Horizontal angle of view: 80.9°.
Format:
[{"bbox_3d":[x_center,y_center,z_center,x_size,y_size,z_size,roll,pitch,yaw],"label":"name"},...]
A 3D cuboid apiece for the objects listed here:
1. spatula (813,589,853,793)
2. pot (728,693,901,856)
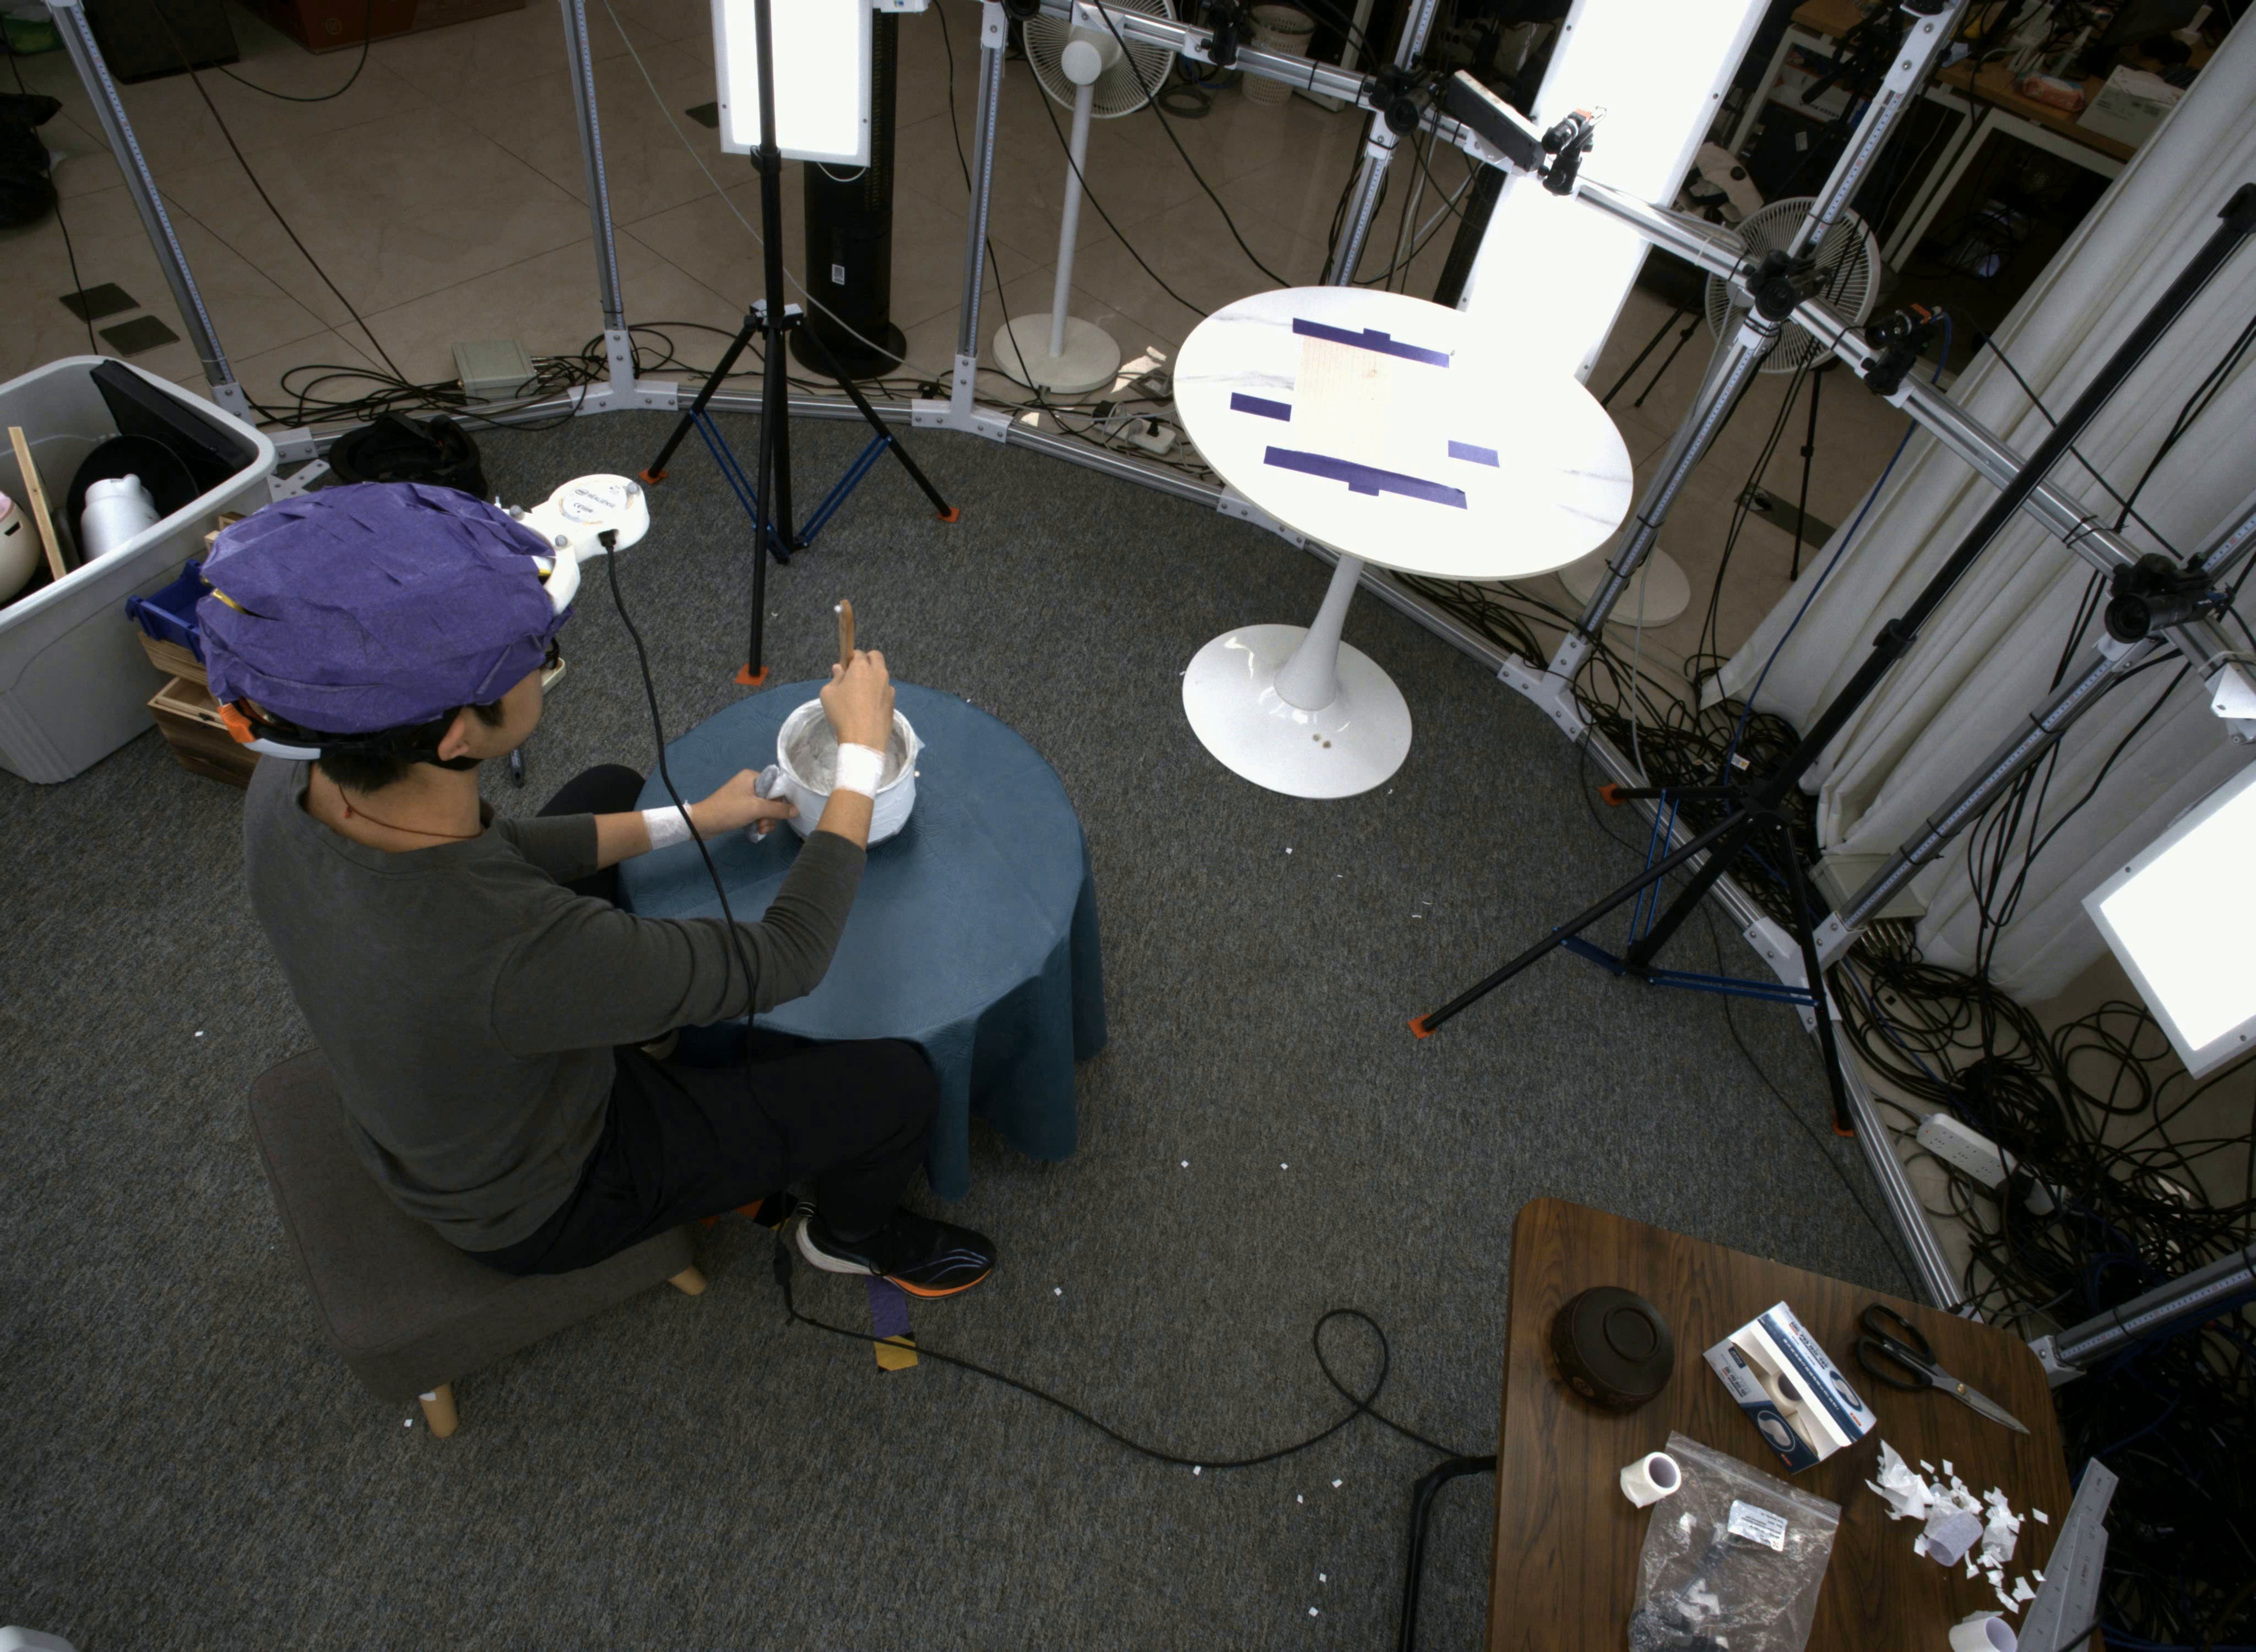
[{"bbox_3d":[-0.357,-0.157,1.540,0.018,0.397,0.094,-24,69,-18],"label":"spatula"},{"bbox_3d":[-0.411,-0.054,1.691,0.235,0.139,0.174,-25,62,-28],"label":"pot"}]
